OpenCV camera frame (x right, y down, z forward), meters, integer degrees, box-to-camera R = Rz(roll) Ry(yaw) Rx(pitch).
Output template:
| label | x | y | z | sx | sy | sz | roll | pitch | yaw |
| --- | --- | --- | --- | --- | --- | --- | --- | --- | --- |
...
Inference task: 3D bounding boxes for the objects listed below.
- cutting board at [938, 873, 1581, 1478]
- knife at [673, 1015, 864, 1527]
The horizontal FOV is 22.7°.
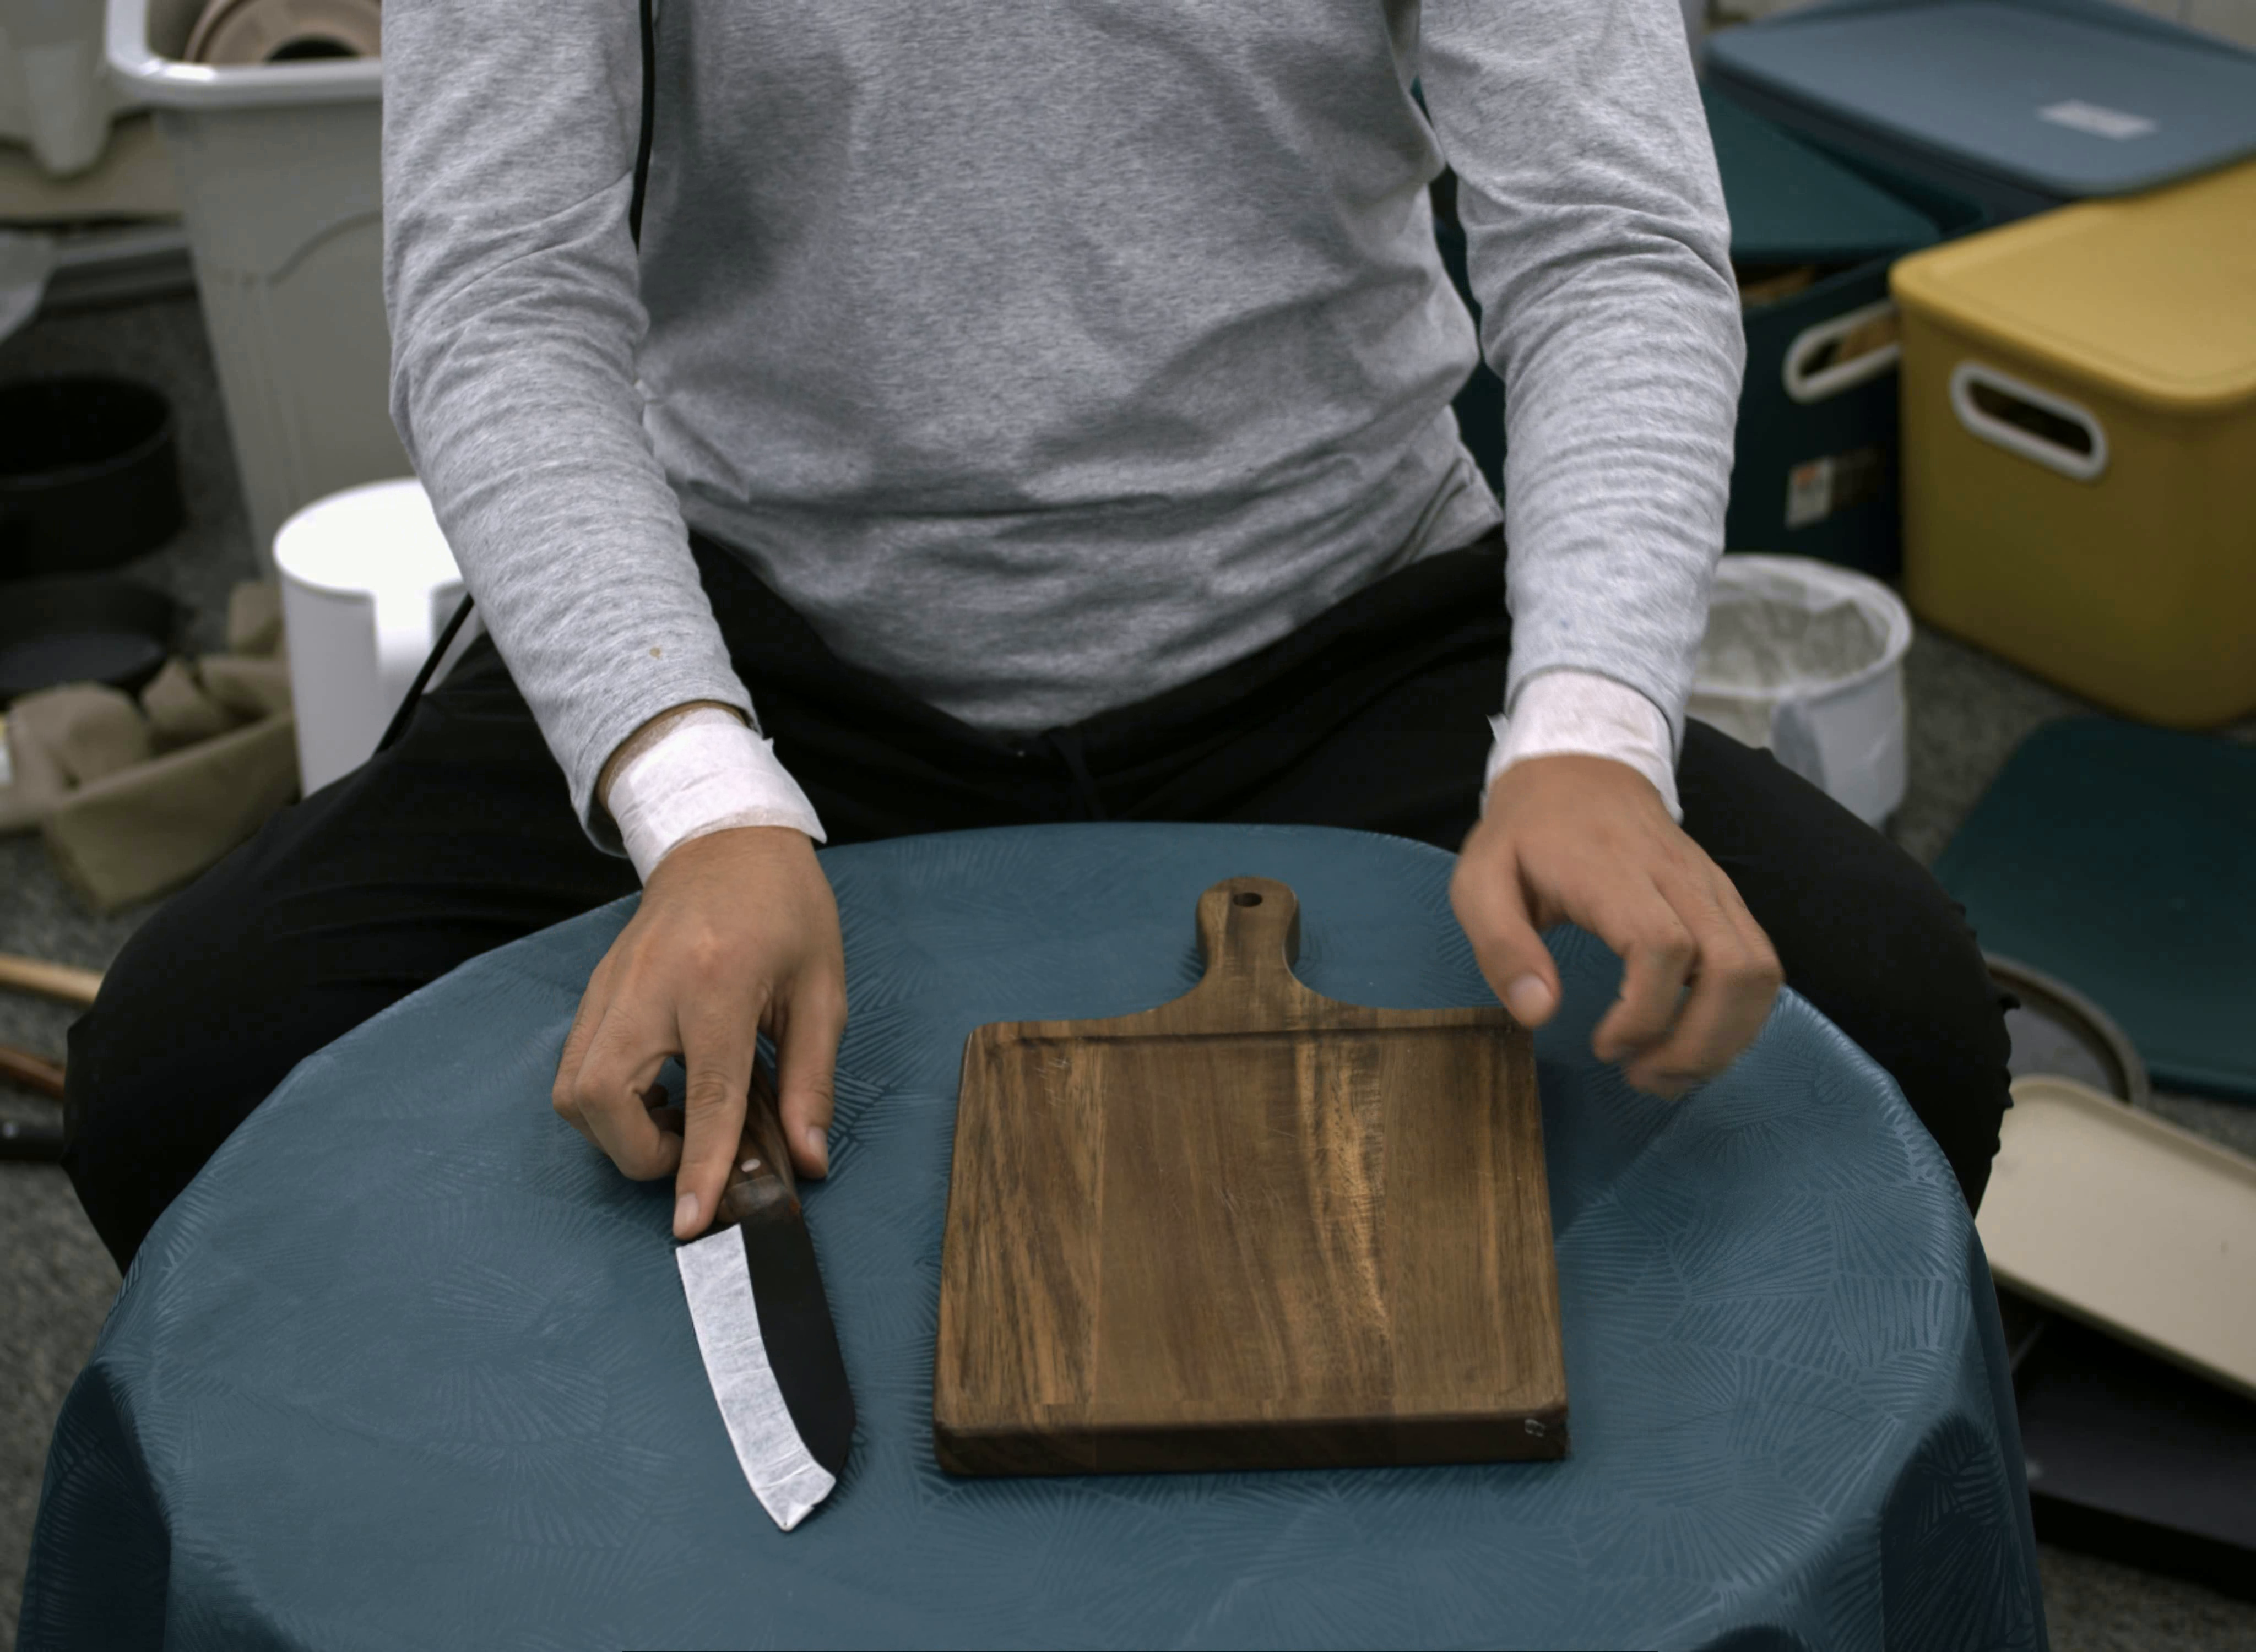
| label | x | y | z | sx | sy | sz | roll | pitch | yaw |
| --- | --- | --- | --- | --- | --- | --- | --- | --- | --- |
| cutting board | 0.041 | 0.108 | 1.864 | 0.200 | 0.023 | 0.357 | -1 | 27 | 2 |
| knife | -0.121 | 0.142 | 1.818 | 0.050 | 0.020 | 0.293 | -20 | 30 | 1 |
